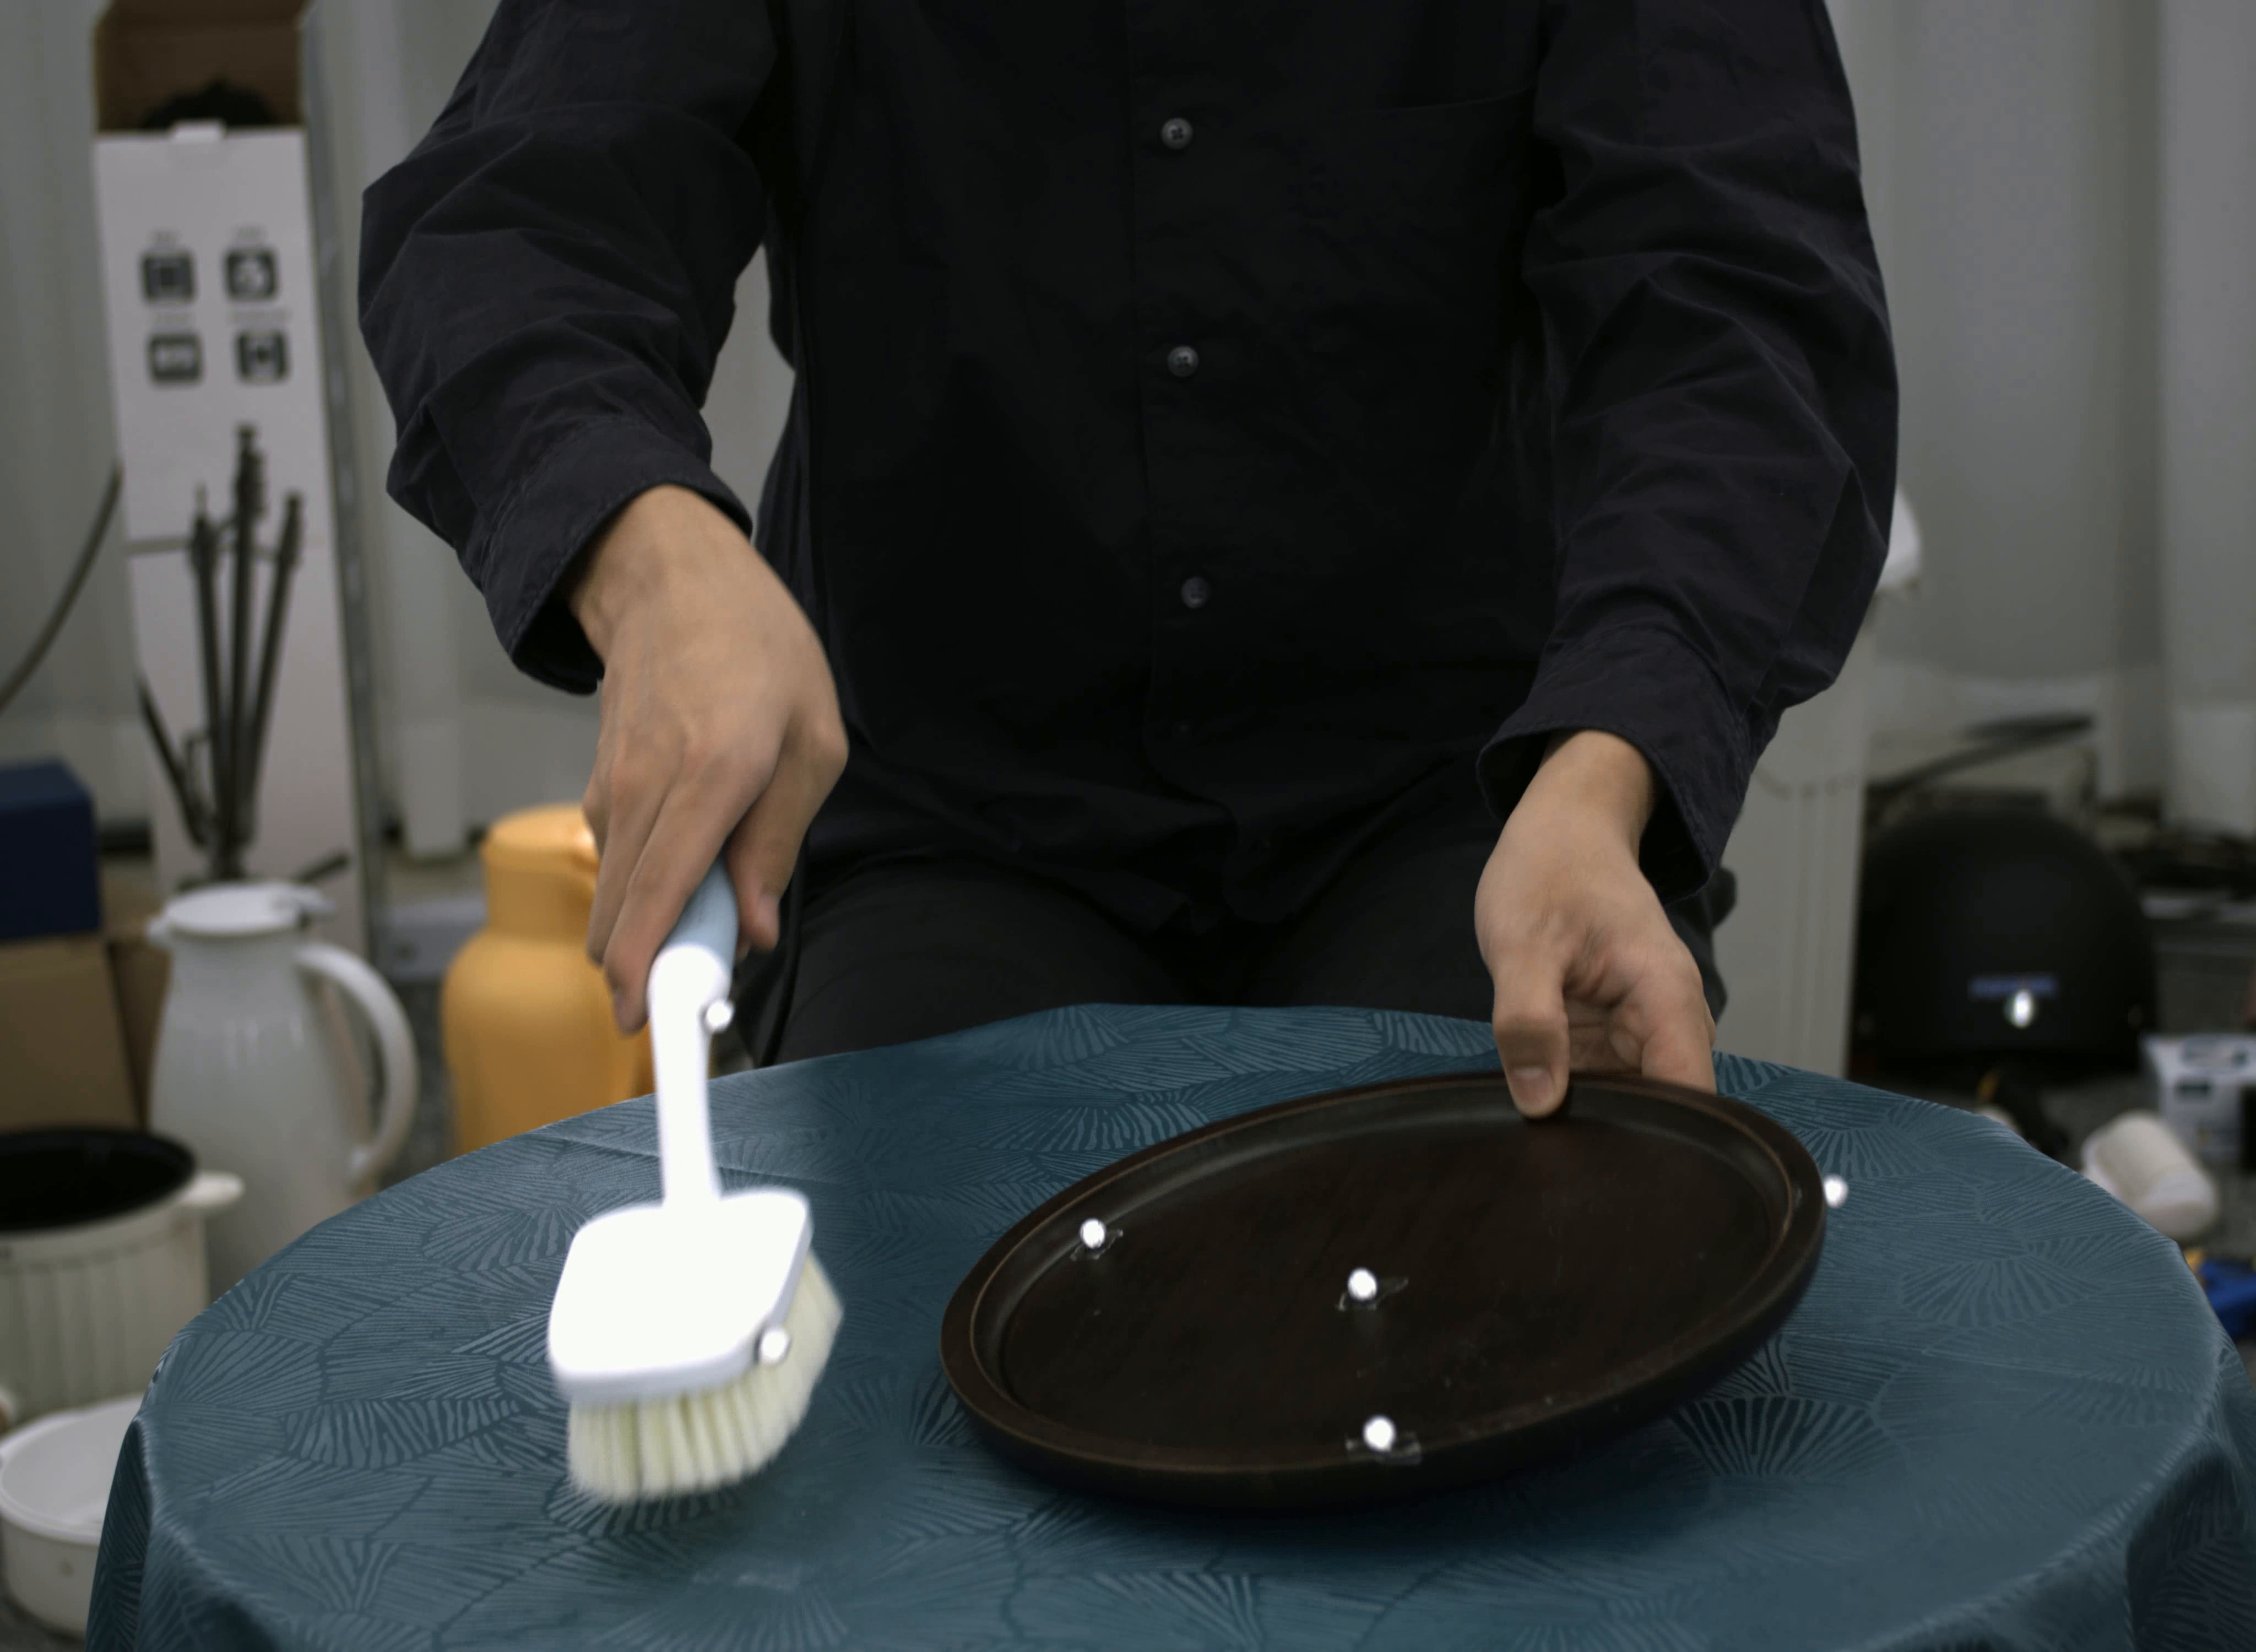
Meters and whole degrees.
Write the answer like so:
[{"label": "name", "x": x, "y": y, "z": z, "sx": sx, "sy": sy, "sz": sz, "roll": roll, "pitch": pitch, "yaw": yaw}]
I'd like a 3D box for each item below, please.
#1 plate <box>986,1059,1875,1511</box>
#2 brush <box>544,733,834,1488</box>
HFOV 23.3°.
[{"label": "plate", "x": 0.085, "y": 0.126, "z": 1.537, "sx": 0.254, "sy": 0.029, "sz": 0.257, "roll": -12, "pitch": 19, "yaw": 4}, {"label": "brush", "x": -0.117, "y": 0.090, "z": 1.580, "sx": 0.082, "sy": 0.084, "sz": 0.330, "roll": 25, "pitch": 29, "yaw": -13}]
